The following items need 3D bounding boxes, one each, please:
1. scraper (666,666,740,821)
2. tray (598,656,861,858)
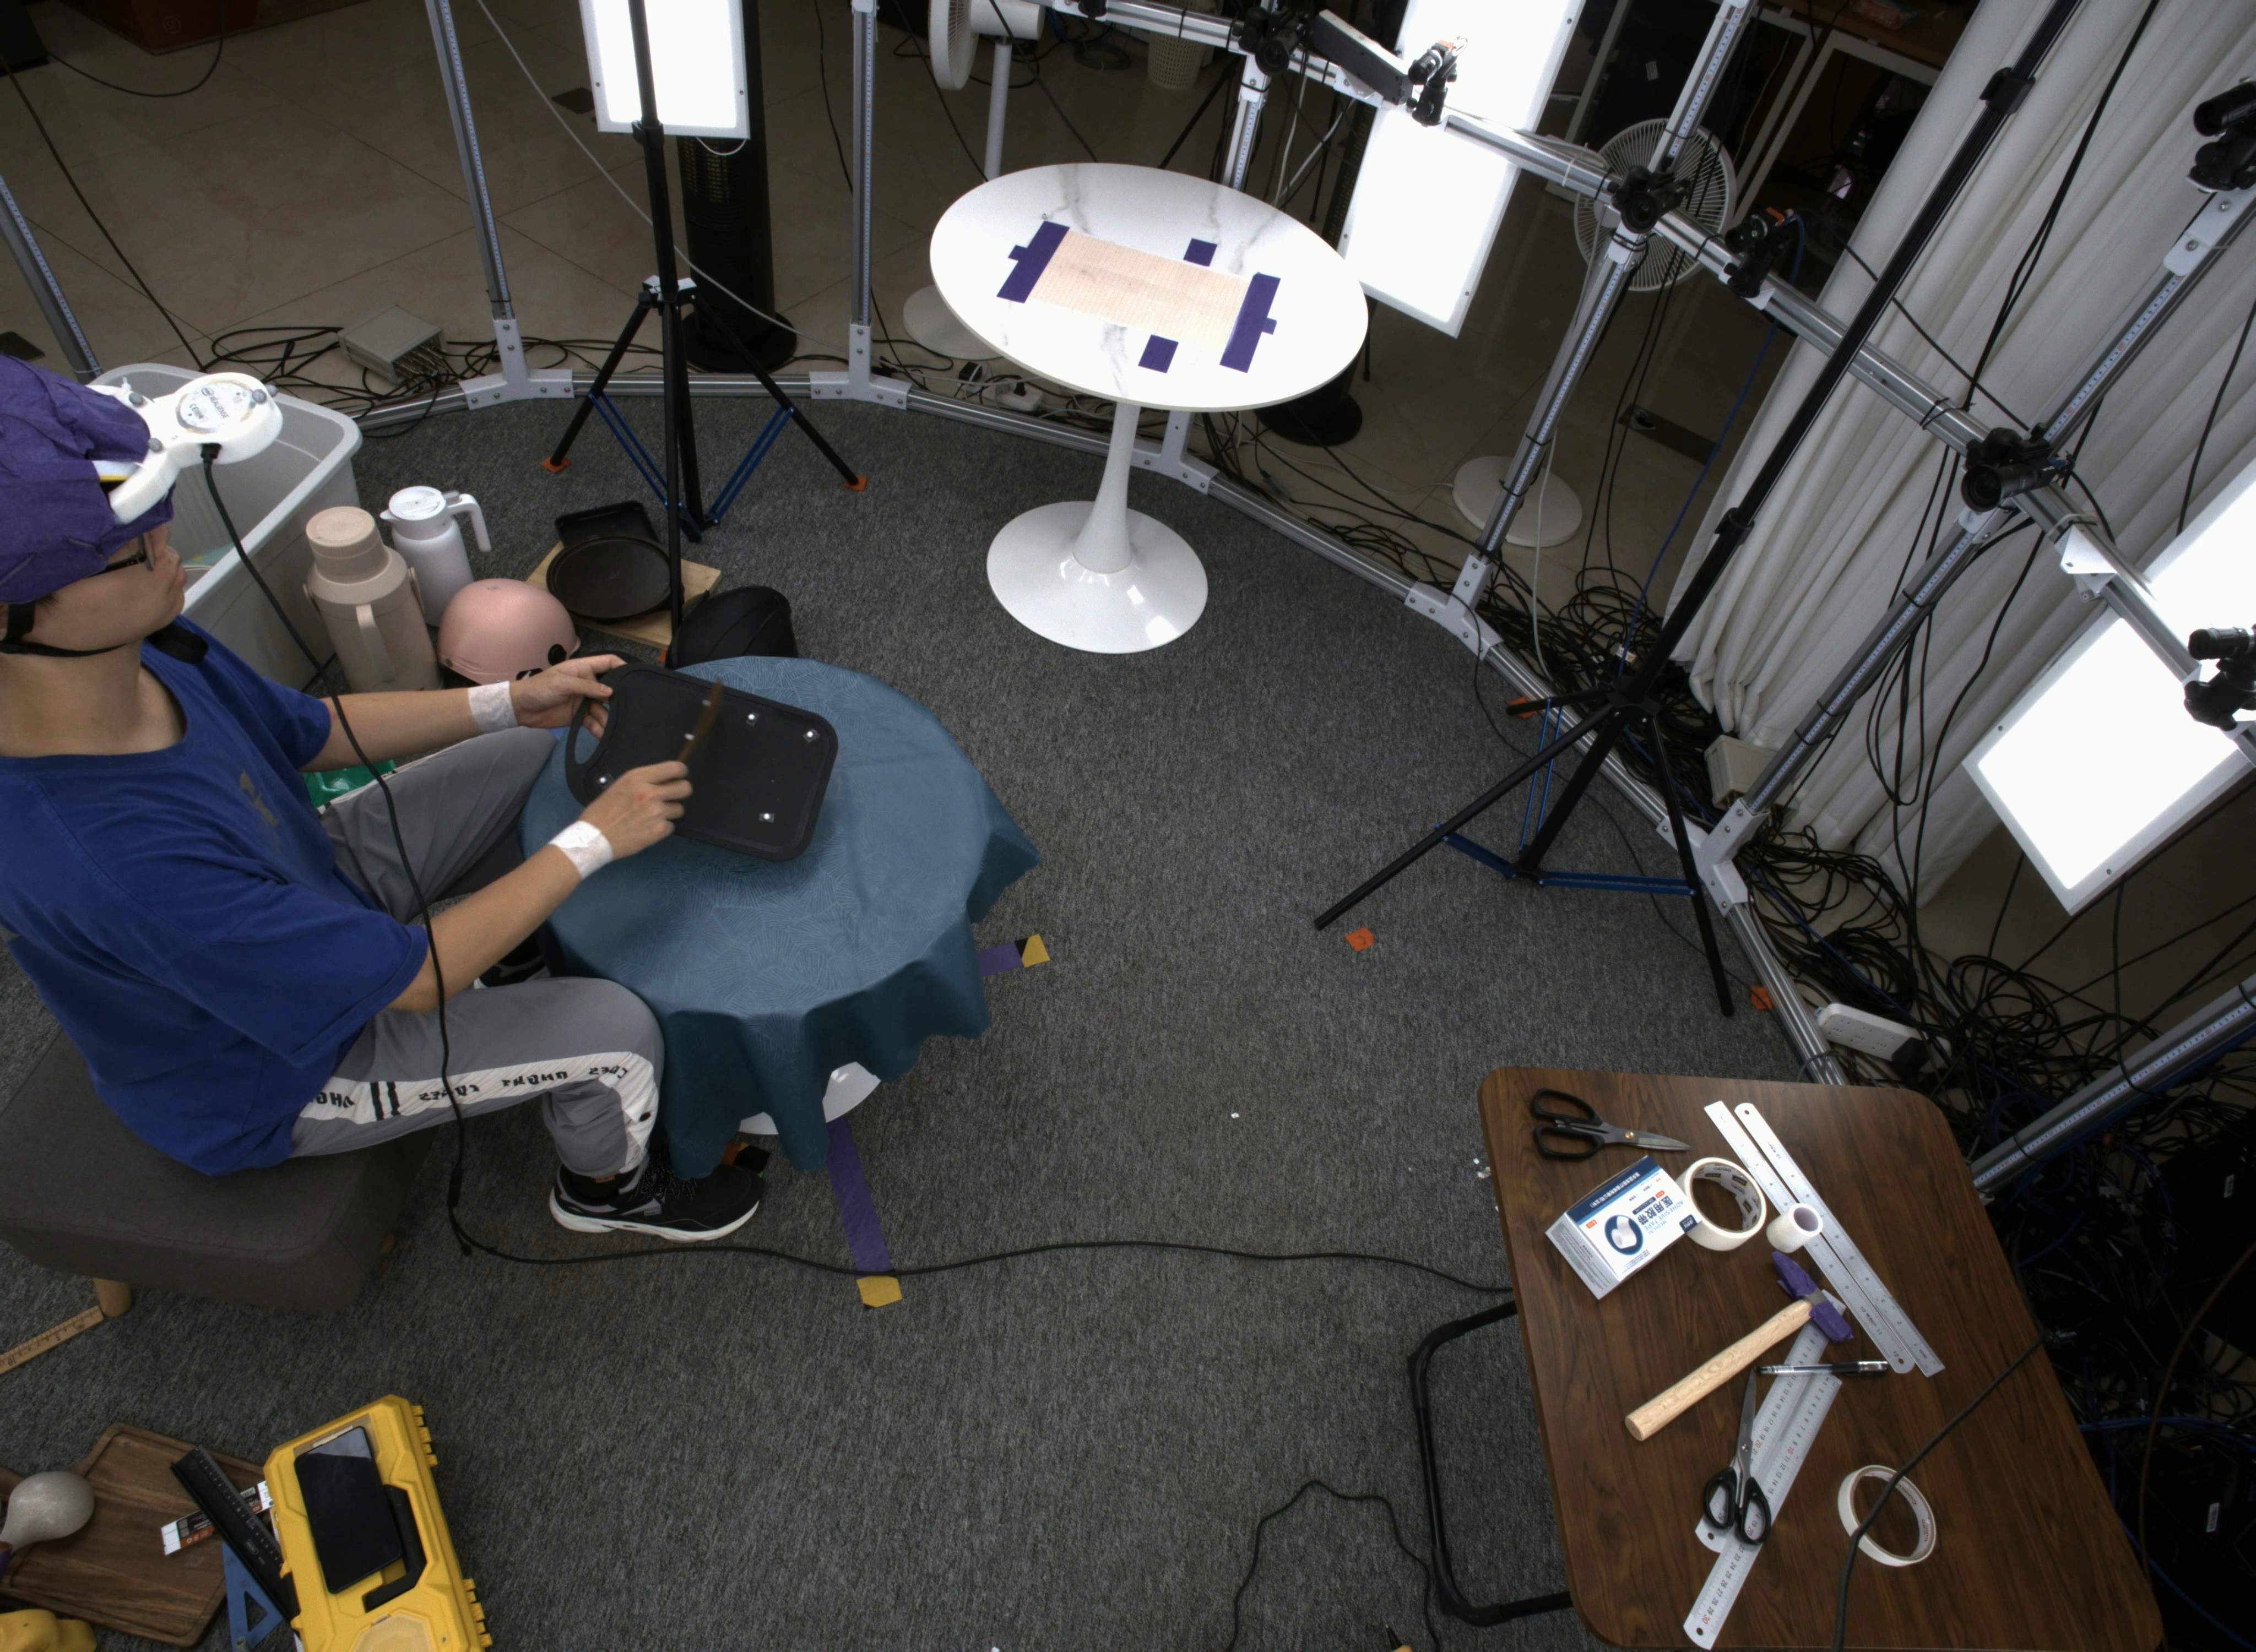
[{"bbox_3d":[-0.522,-0.099,1.590,0.011,0.076,0.210,23,63,-7],"label":"scraper"},{"bbox_3d":[-0.517,-0.093,1.652,0.328,0.010,0.210,18,71,-15],"label":"tray"}]
